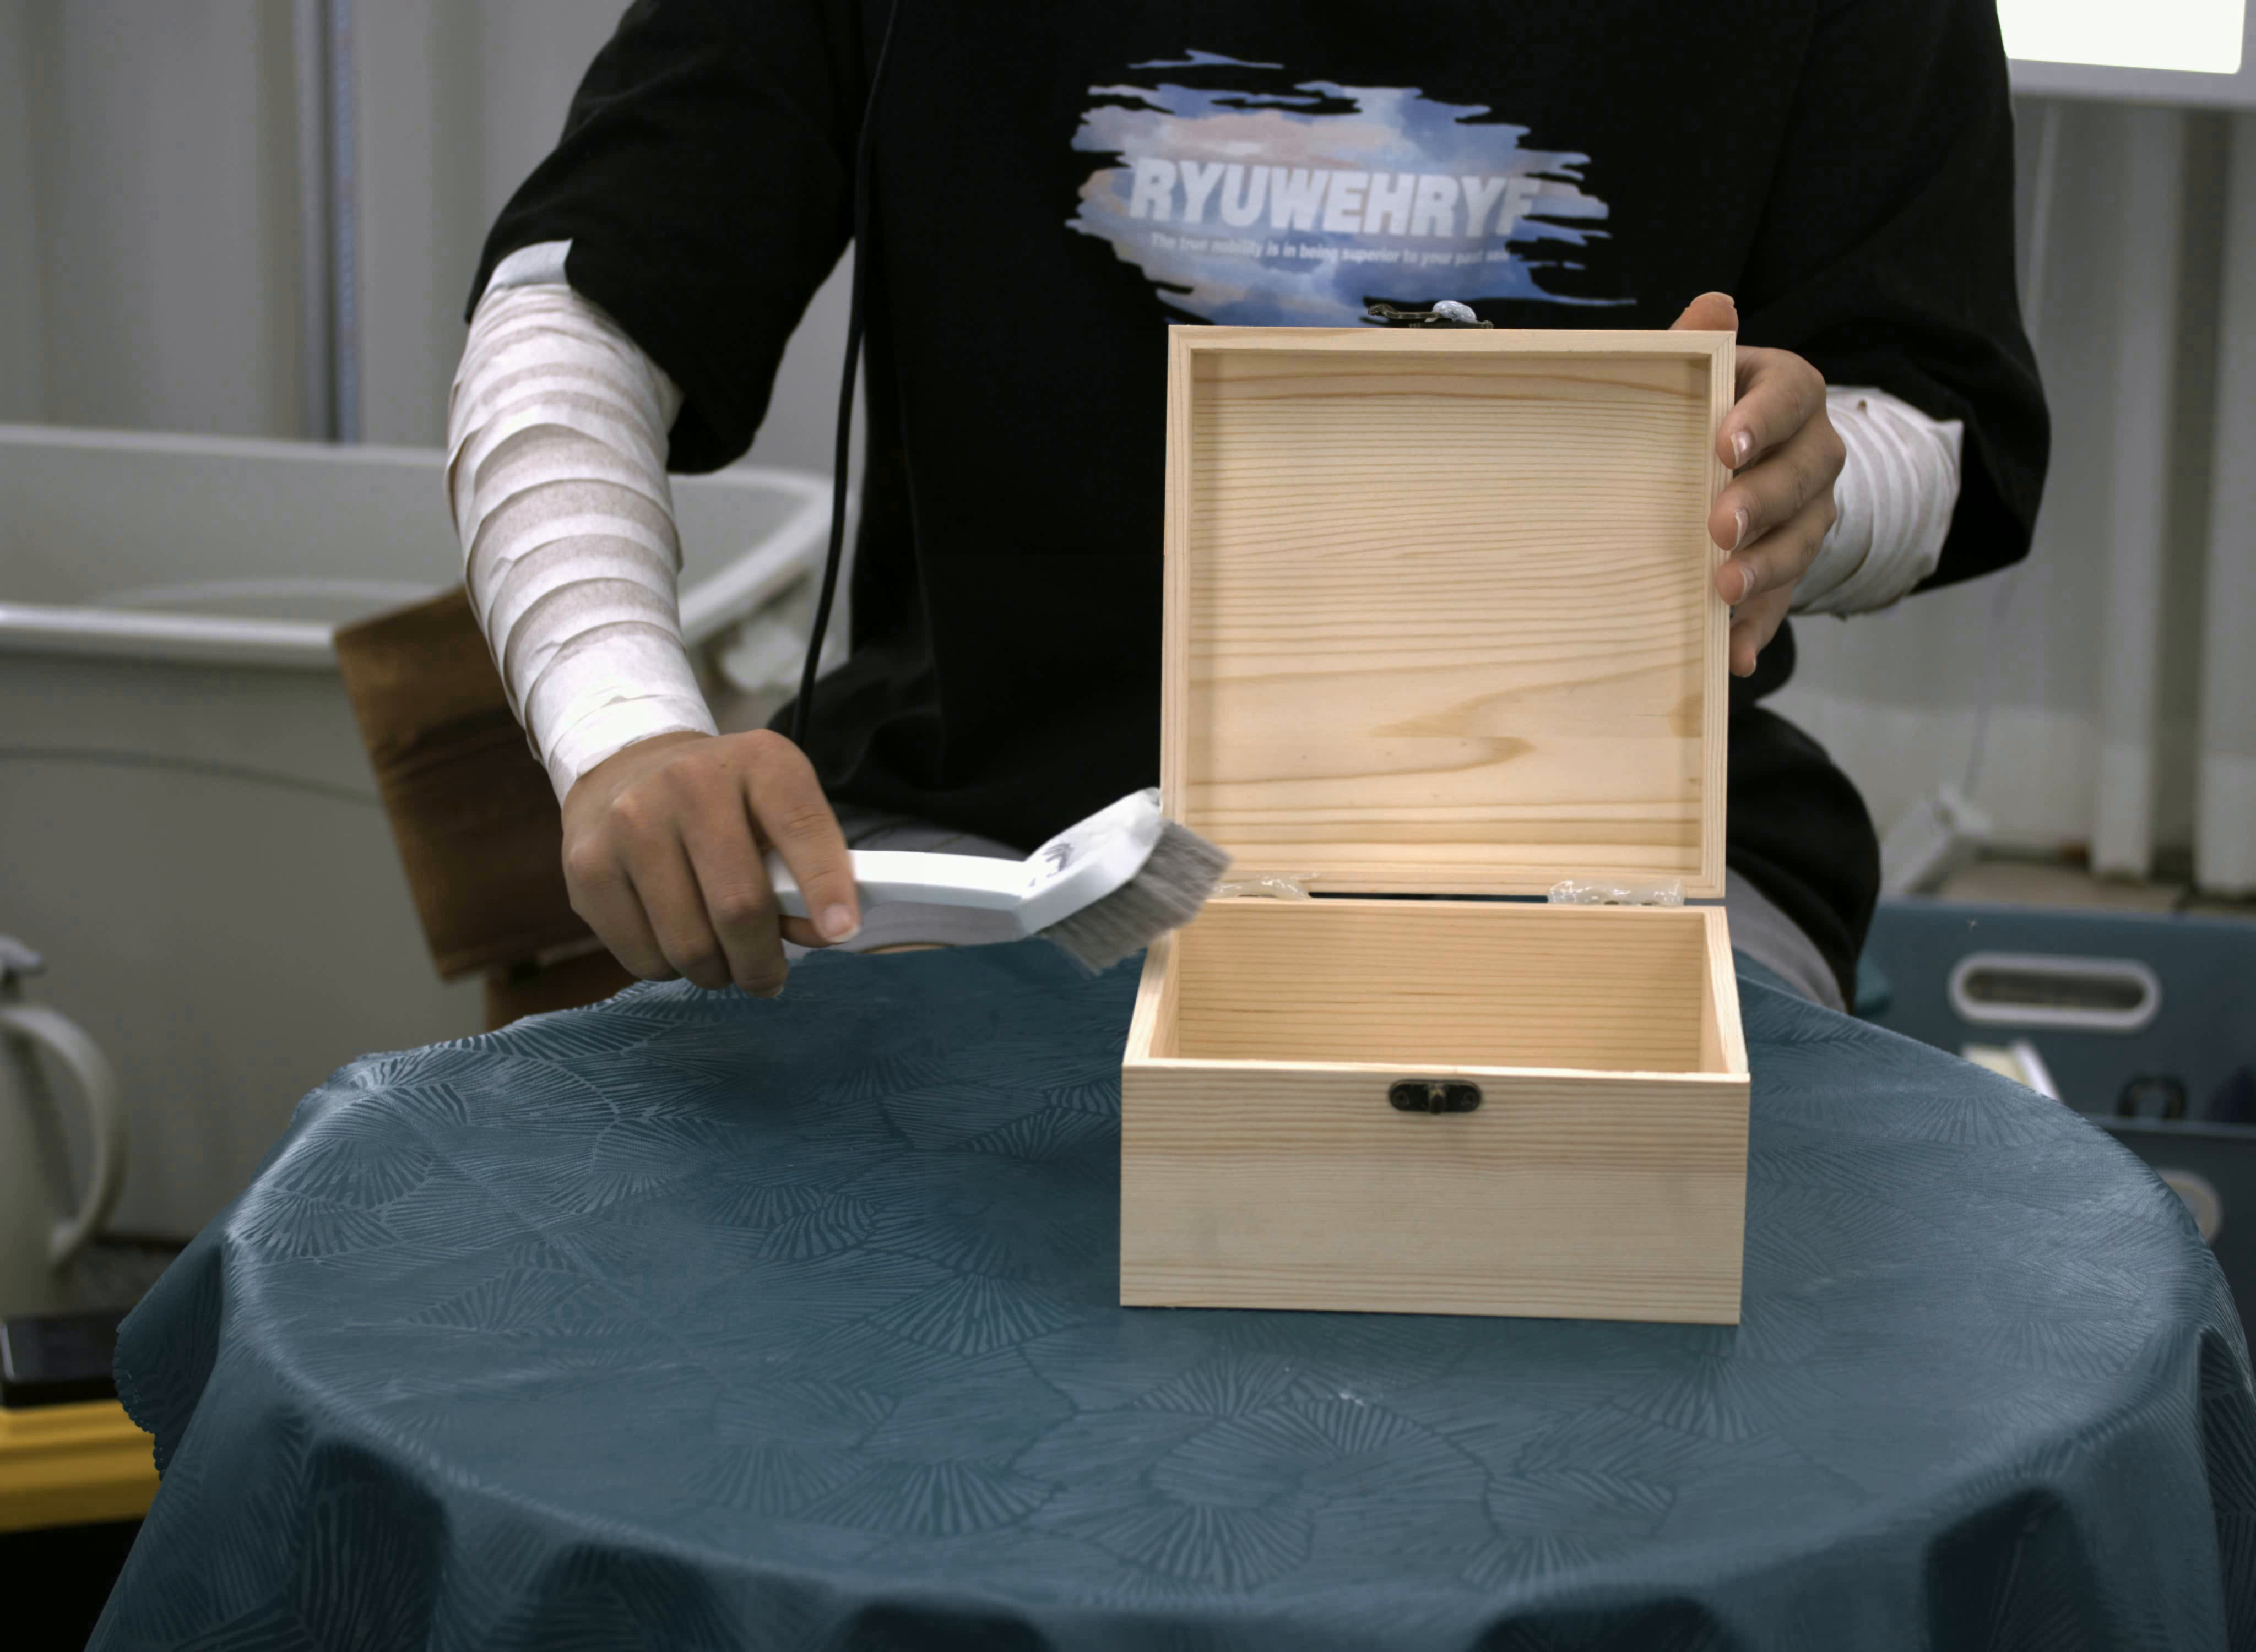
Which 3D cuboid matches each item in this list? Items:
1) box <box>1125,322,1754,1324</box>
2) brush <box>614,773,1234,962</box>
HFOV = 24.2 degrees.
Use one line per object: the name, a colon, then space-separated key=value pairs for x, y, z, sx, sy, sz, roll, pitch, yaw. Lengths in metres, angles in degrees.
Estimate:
box: x=0.095 y=-0.010 z=1.604 sx=0.181 sy=0.255 sz=0.264 roll=0 pitch=15 yaw=3
brush: x=-0.066 y=0.025 z=1.662 sx=0.241 sy=0.051 sz=0.034 roll=-11 pitch=37 yaw=40
